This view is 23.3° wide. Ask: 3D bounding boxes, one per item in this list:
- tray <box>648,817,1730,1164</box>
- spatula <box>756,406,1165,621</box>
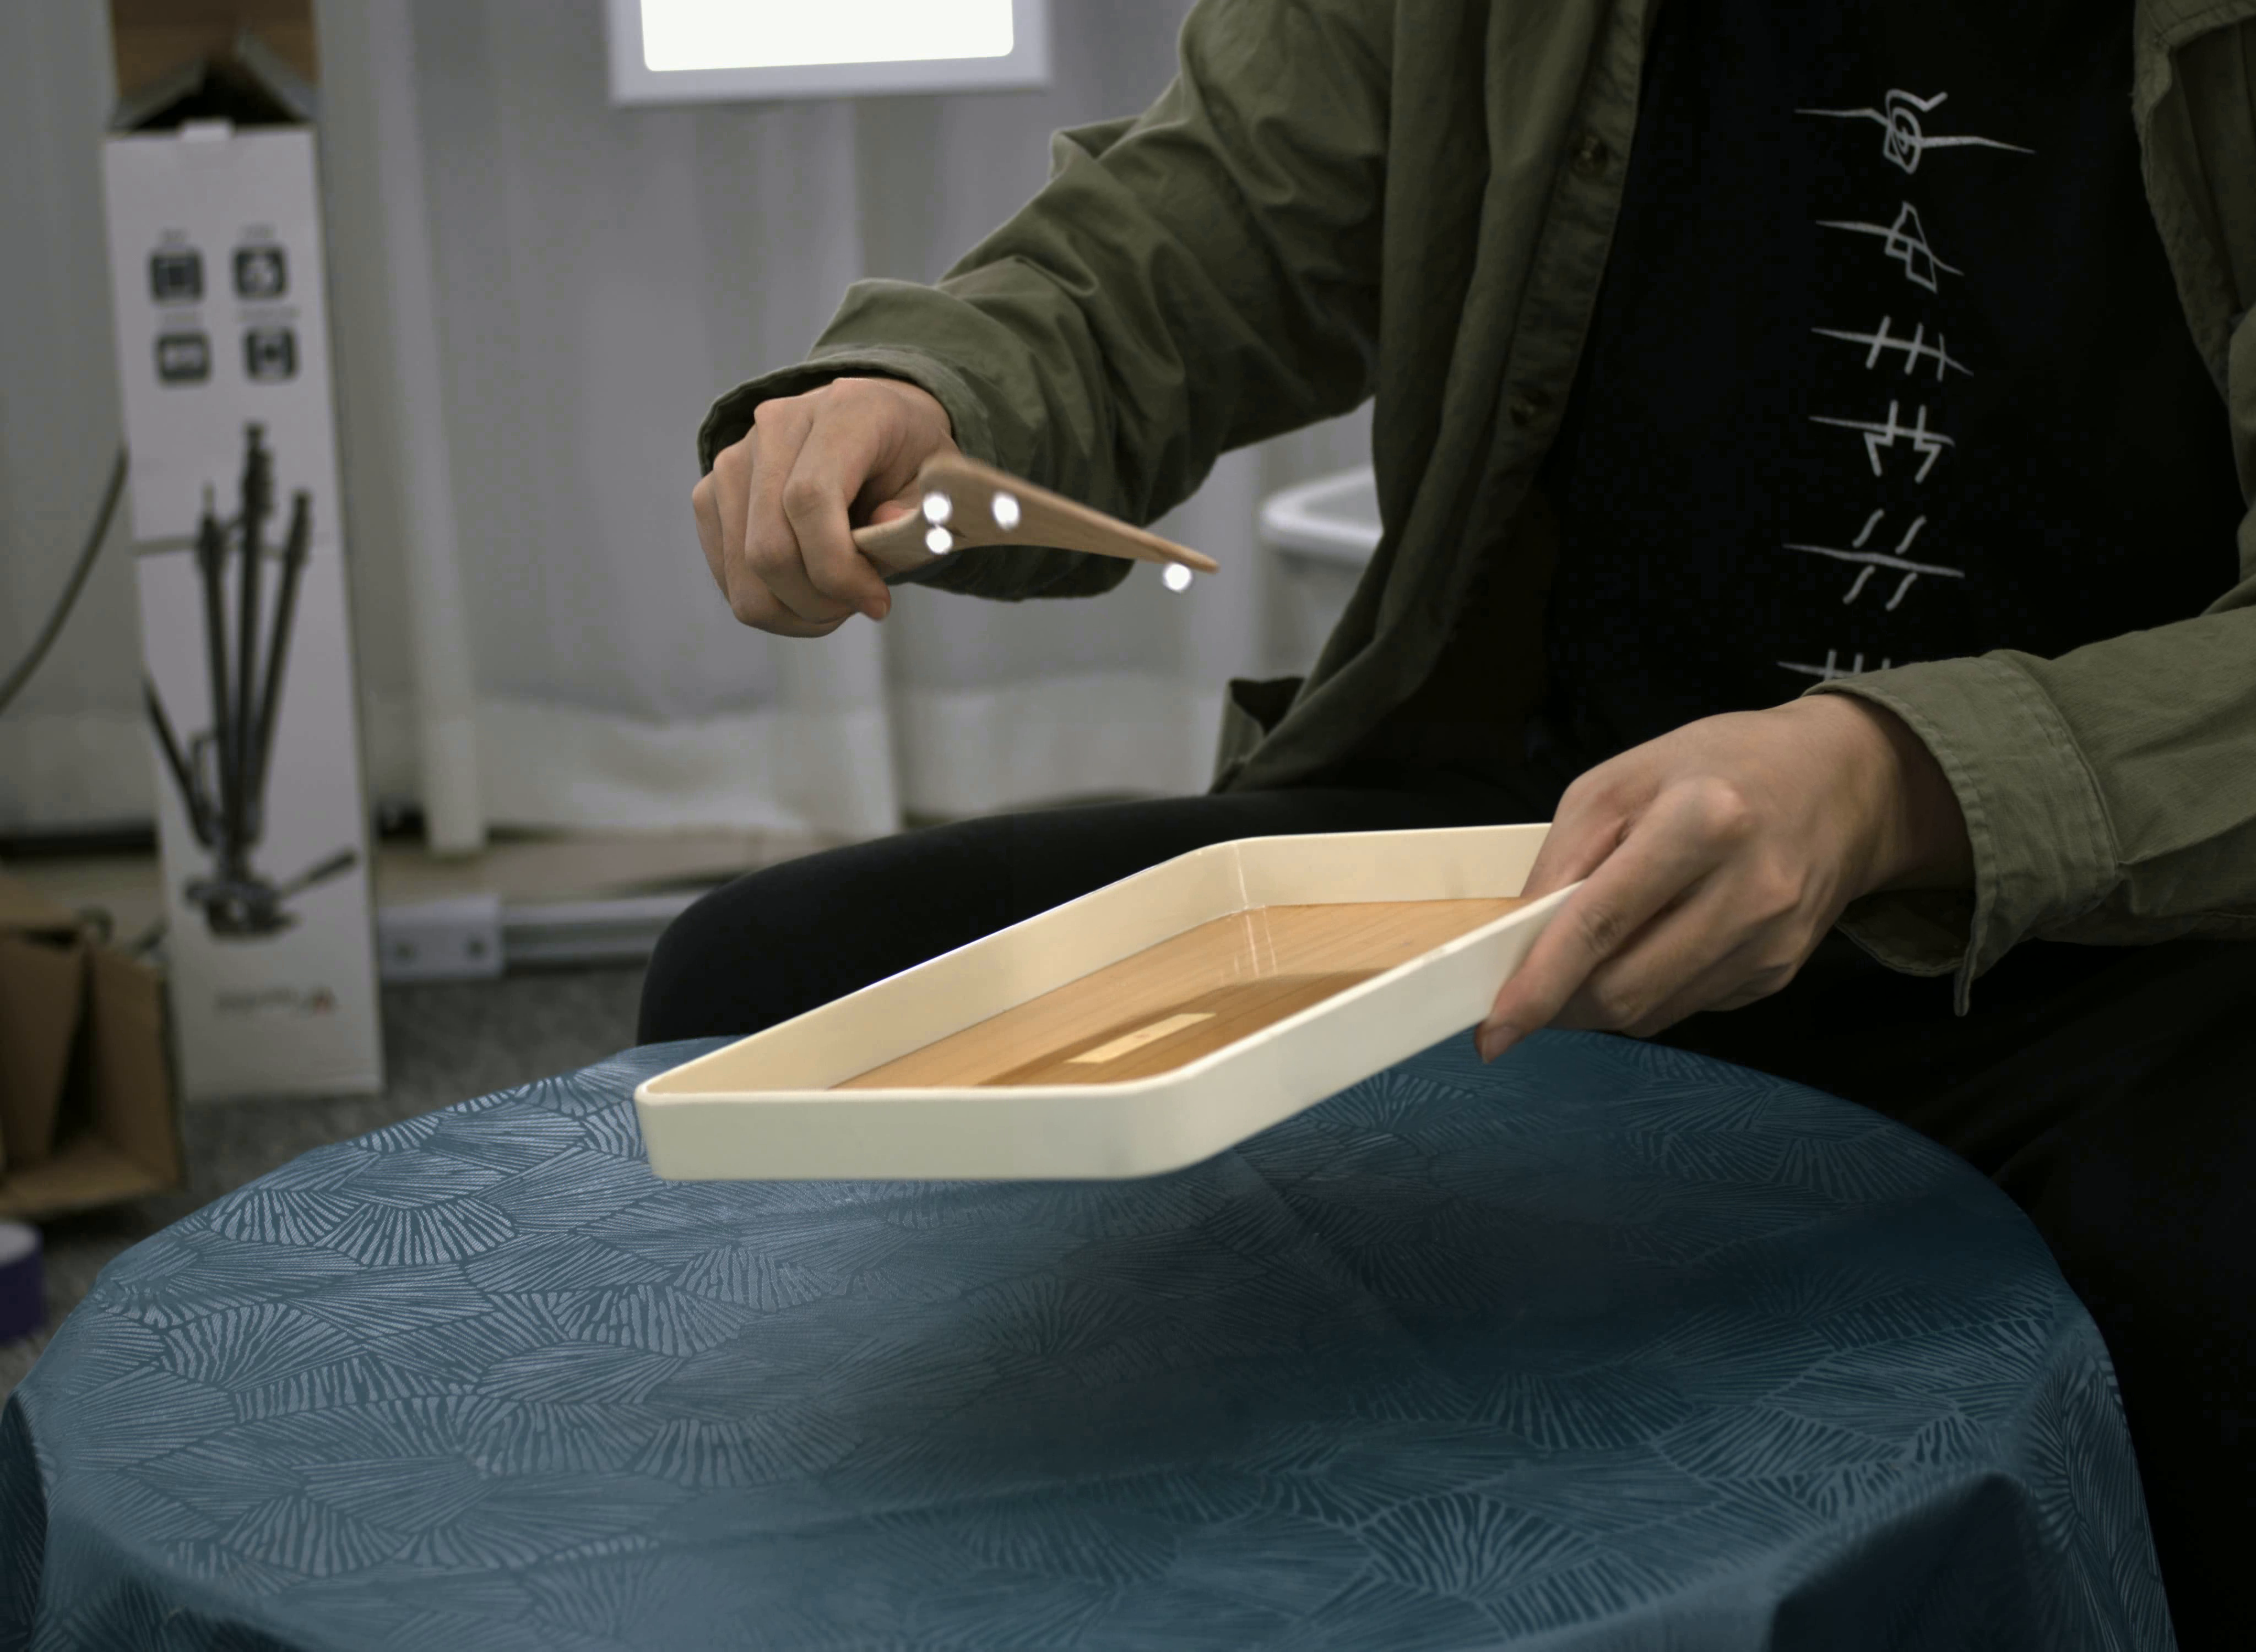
[{"bbox_3d":[0.023,0.046,1.572,0.192,0.027,0.300,-3,11,38],"label":"tray"},{"bbox_3d":[-0.068,-0.087,1.650,0.079,0.016,0.327,24,-12,-13],"label":"spatula"}]
